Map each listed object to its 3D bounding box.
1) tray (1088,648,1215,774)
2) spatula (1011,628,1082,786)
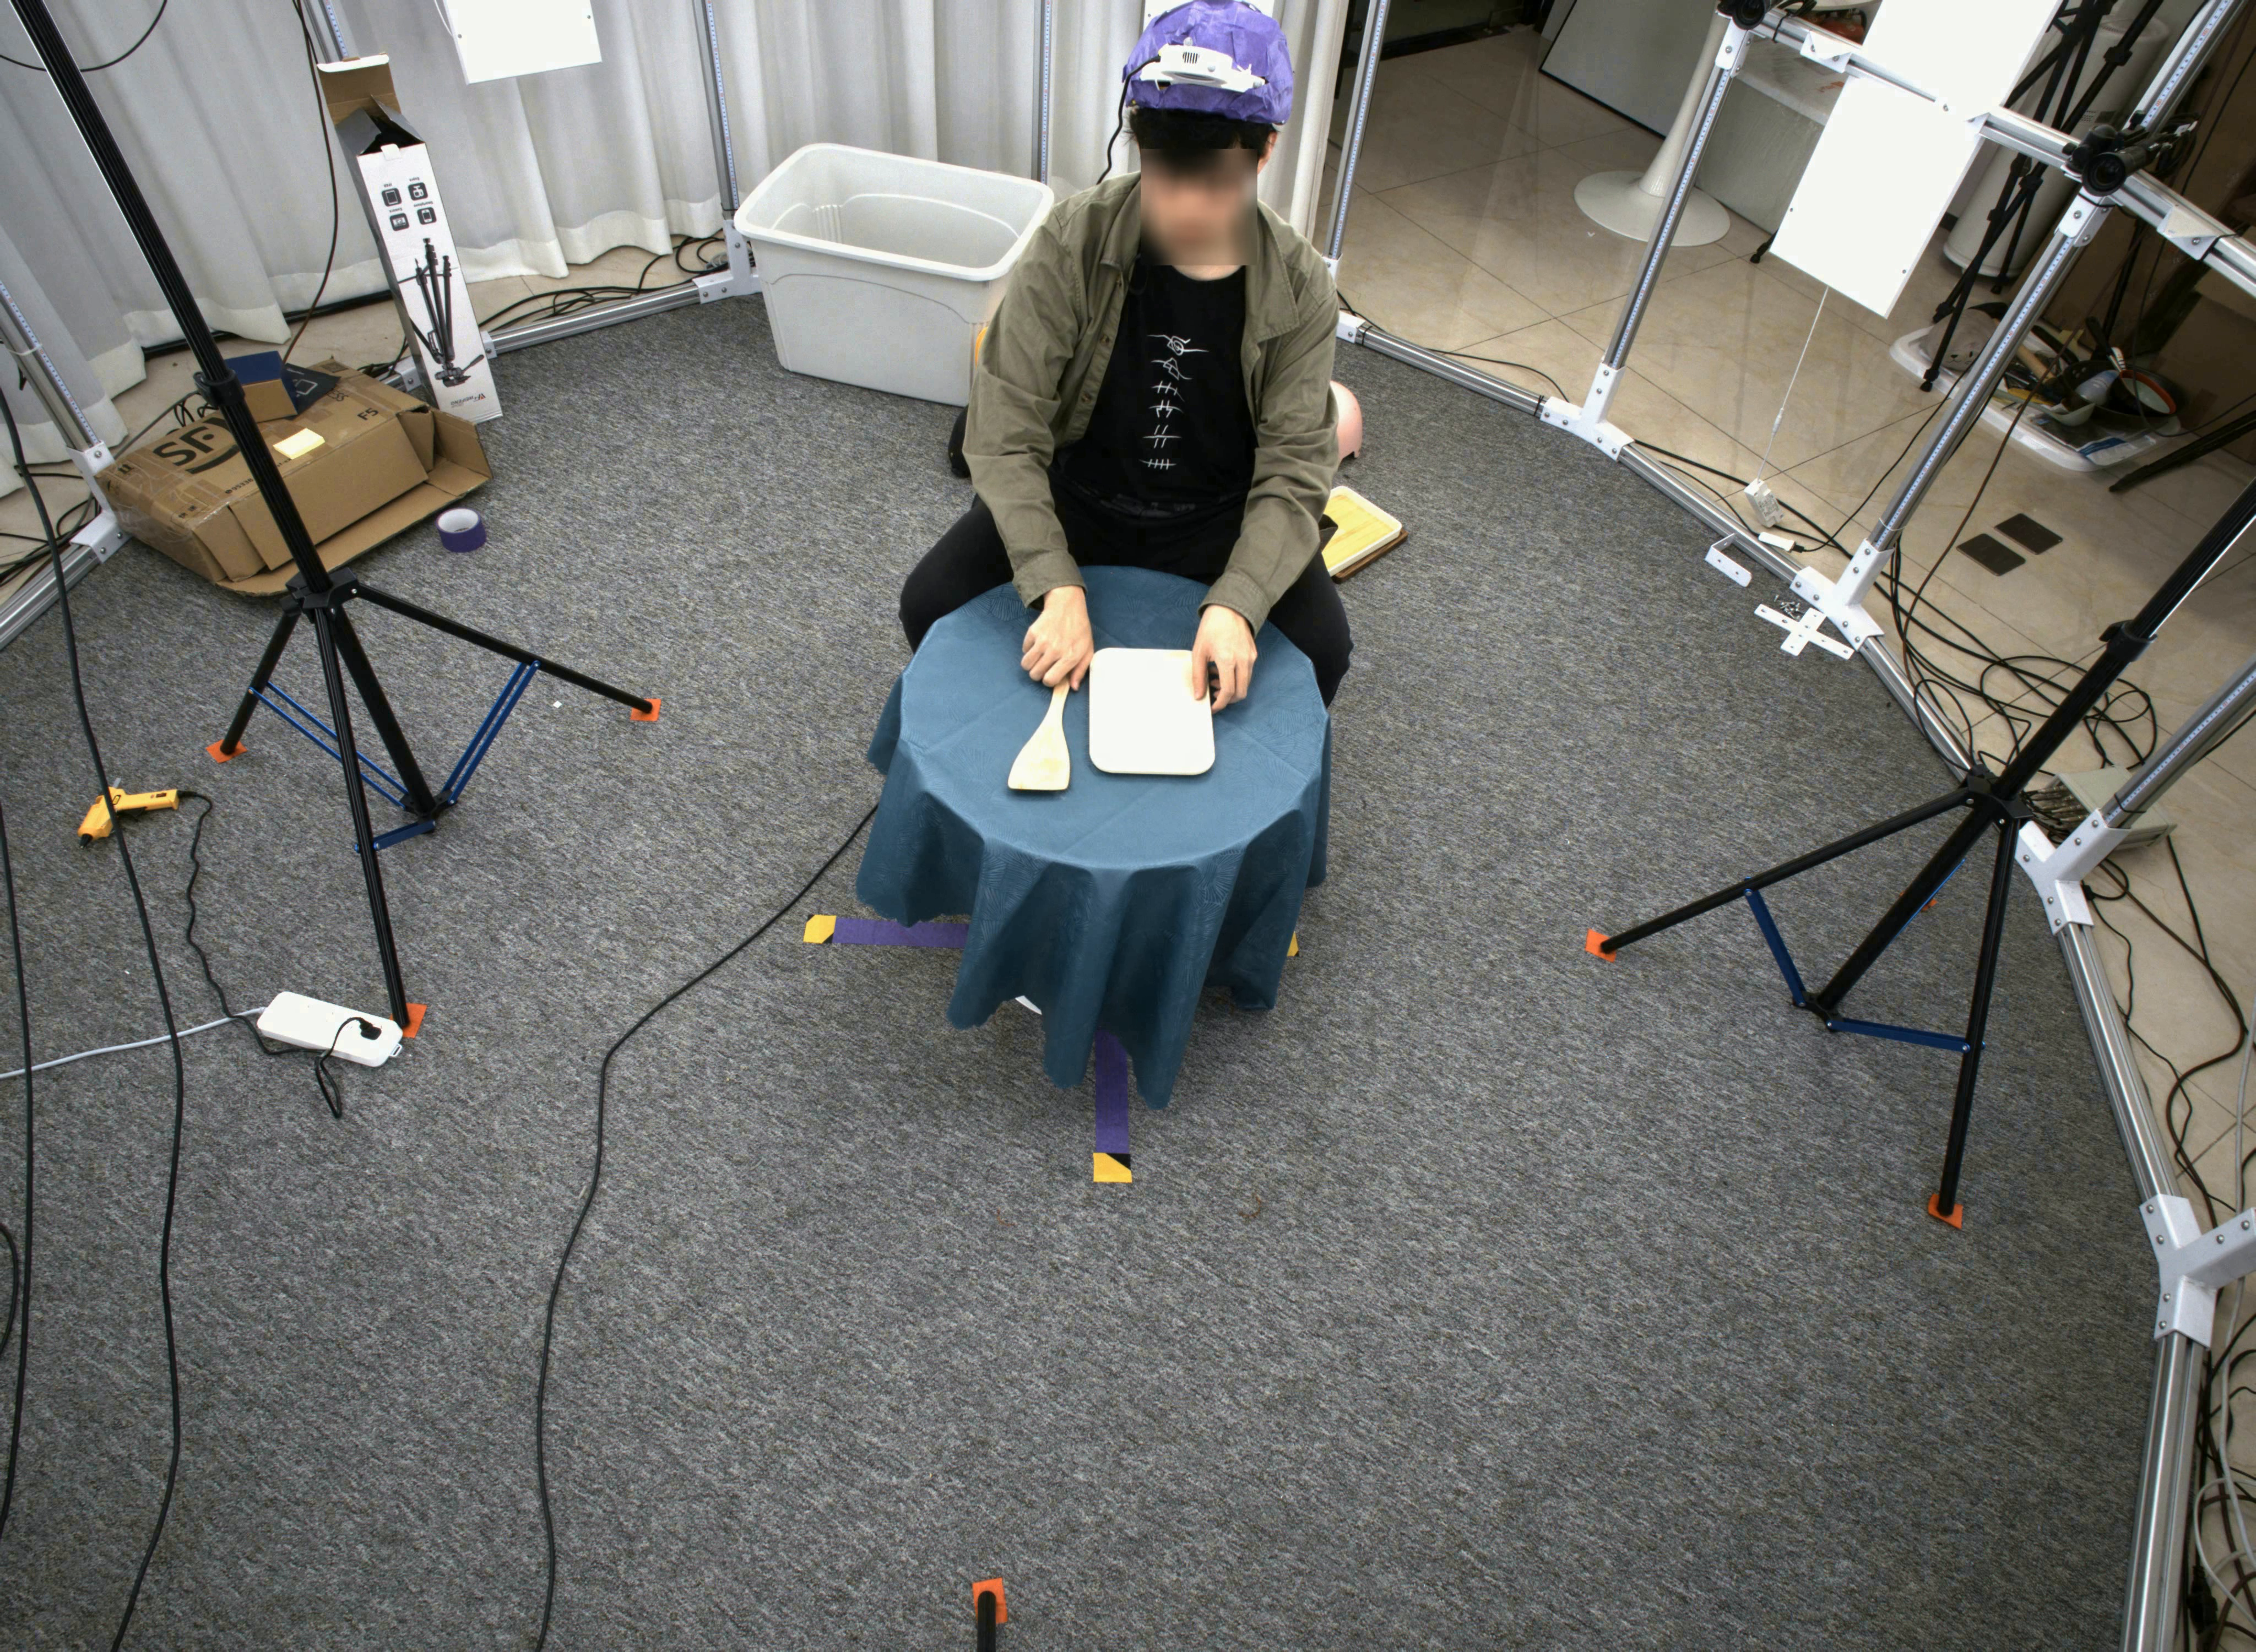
[{"bbox_3d":[0.030,-0.161,1.790,0.171,0.017,0.246,2,48,-4],"label":"tray"},{"bbox_3d":[-0.097,-0.170,1.787,0.080,0.016,0.335,8,49,1],"label":"spatula"}]
